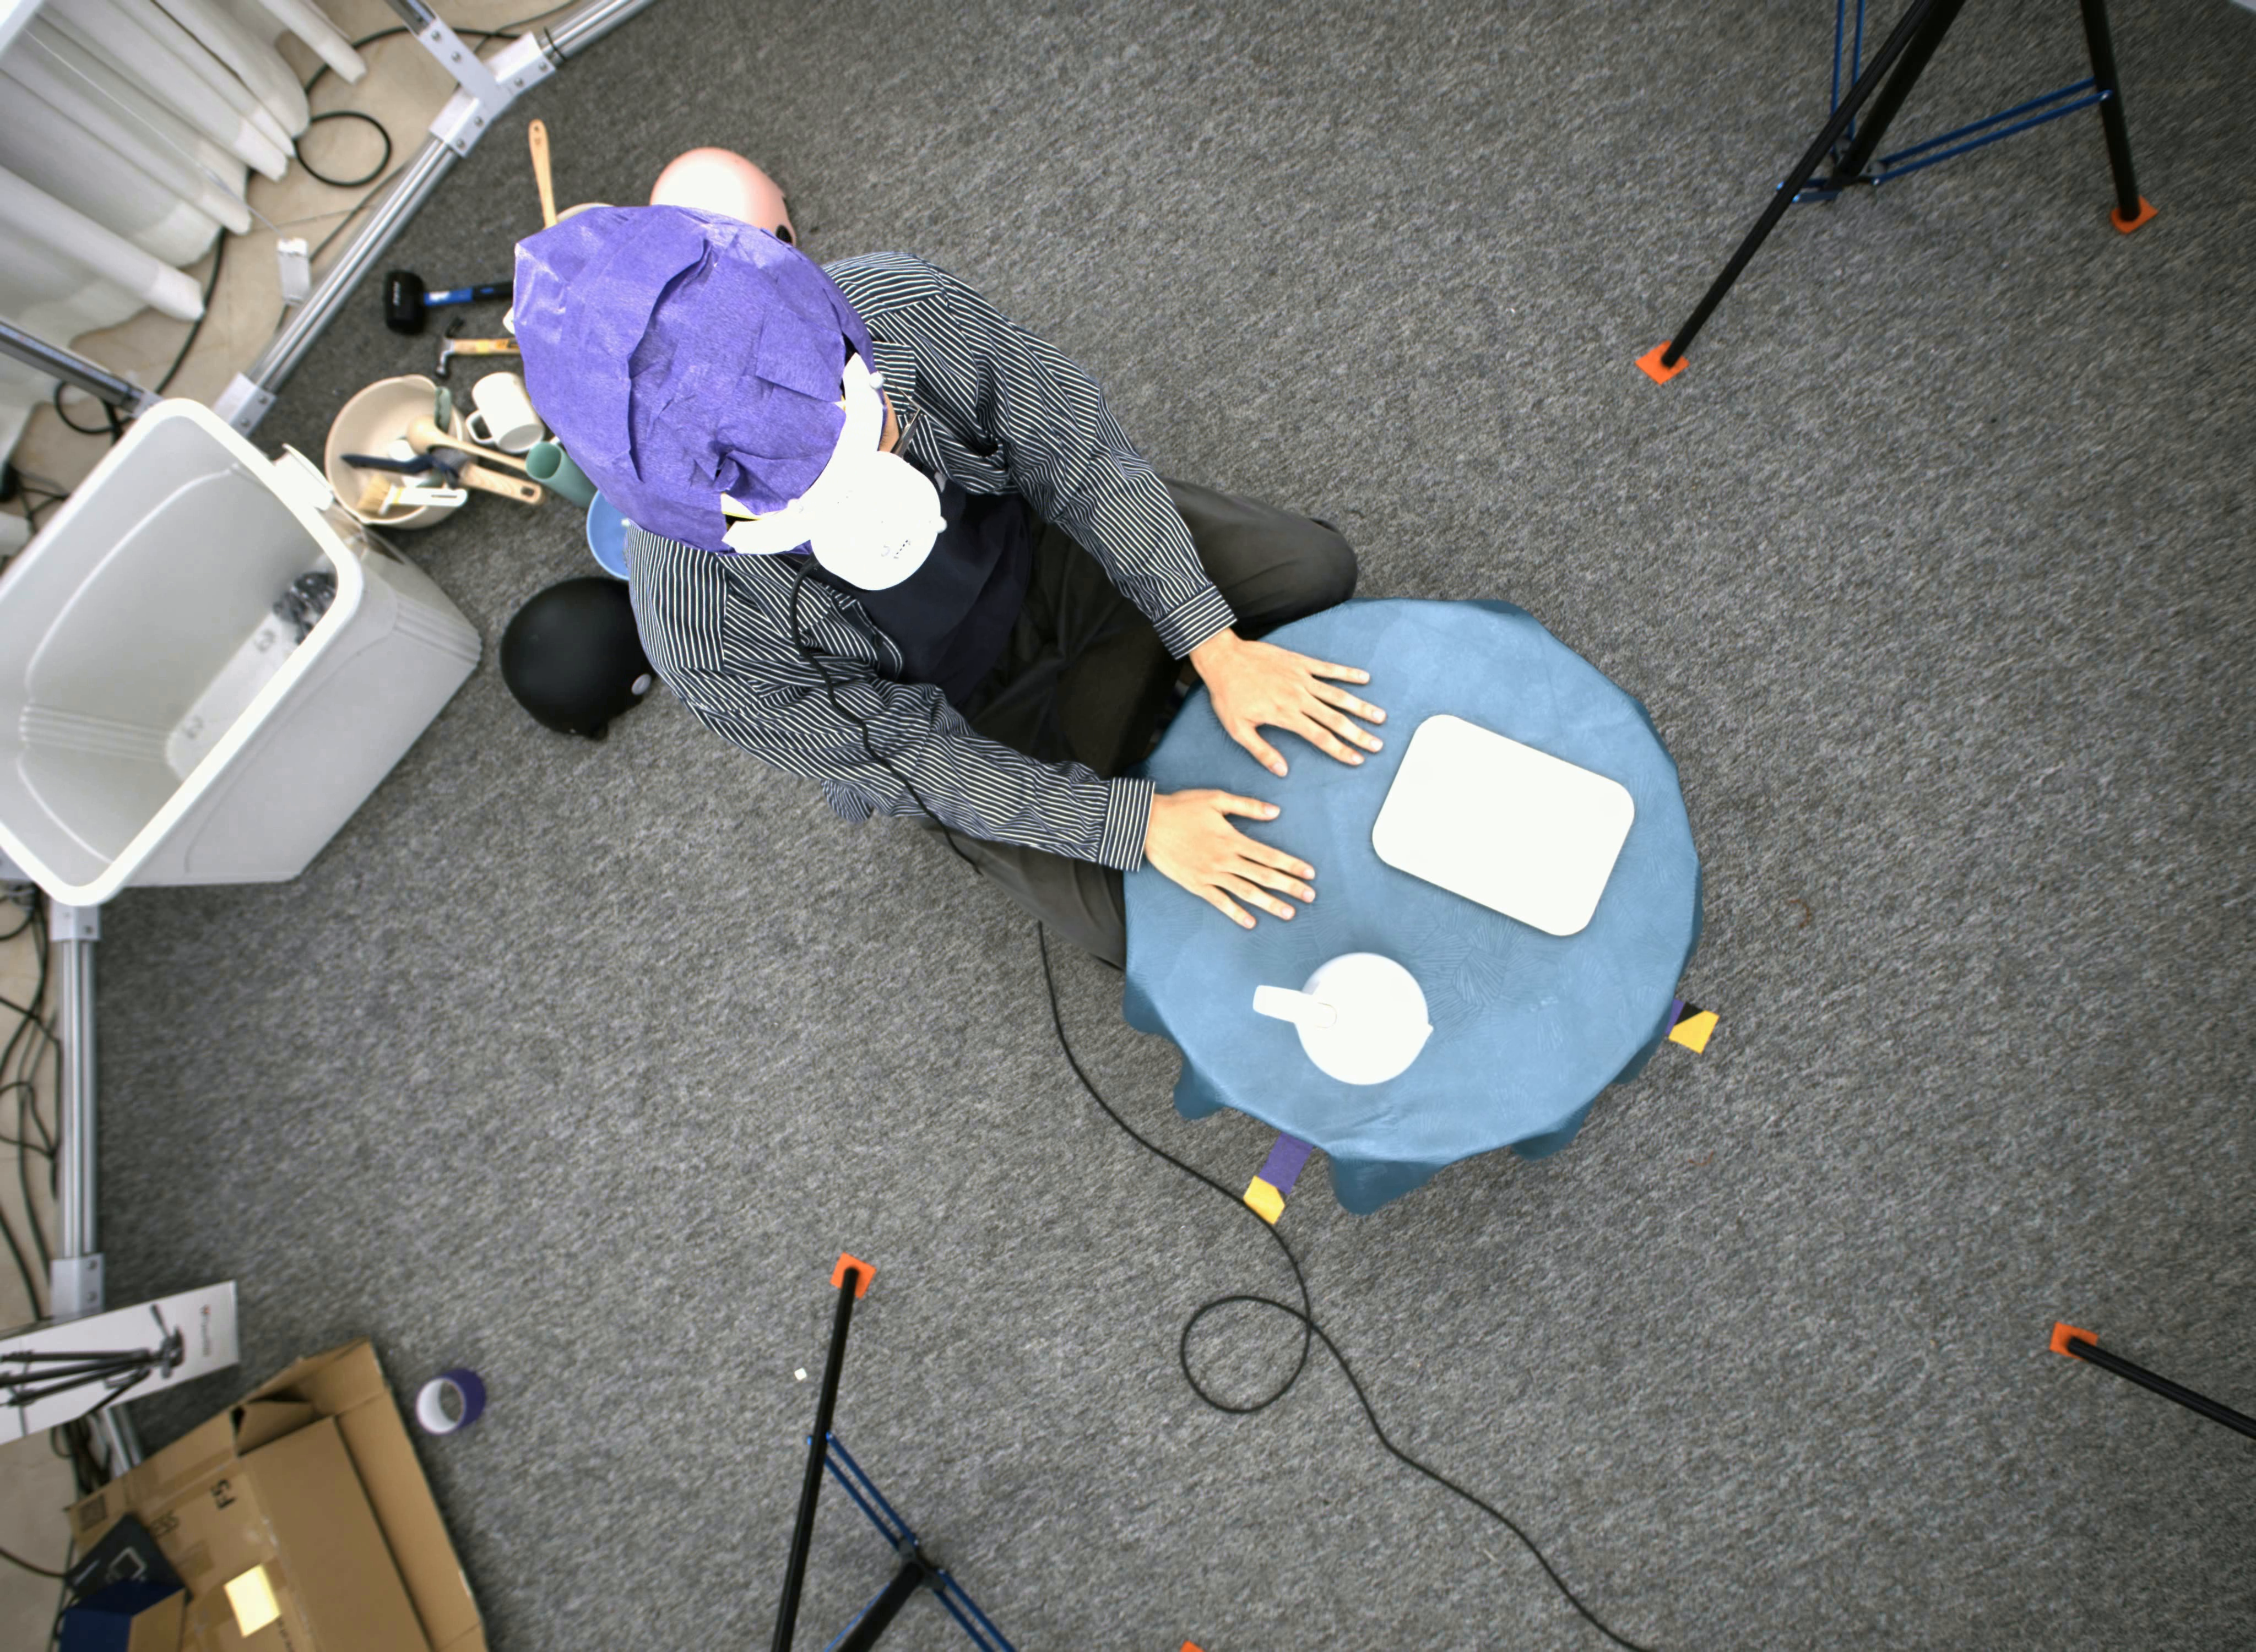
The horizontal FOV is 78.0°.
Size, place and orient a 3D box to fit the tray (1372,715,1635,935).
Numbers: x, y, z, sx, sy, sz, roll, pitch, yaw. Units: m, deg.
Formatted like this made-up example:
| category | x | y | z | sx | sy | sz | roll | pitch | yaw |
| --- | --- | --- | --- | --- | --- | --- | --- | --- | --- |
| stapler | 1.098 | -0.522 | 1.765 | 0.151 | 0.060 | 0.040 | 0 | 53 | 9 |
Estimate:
| category | x | y | z | sx | sy | sz | roll | pitch | yaw |
| --- | --- | --- | --- | --- | --- | --- | --- | --- | --- |
| tray | 0.387 | -0.004 | 1.422 | 0.239 | 0.017 | 0.171 | 23 | 91 | 11 |

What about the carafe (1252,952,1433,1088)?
| category | x | y | z | sx | sy | sz | roll | pitch | yaw |
| --- | --- | --- | --- | --- | --- | --- | --- | --- | --- |
| carafe | 0.205 | 0.185 | 1.328 | 0.168 | 0.248 | 0.132 | 6 | 87 | 11 |
